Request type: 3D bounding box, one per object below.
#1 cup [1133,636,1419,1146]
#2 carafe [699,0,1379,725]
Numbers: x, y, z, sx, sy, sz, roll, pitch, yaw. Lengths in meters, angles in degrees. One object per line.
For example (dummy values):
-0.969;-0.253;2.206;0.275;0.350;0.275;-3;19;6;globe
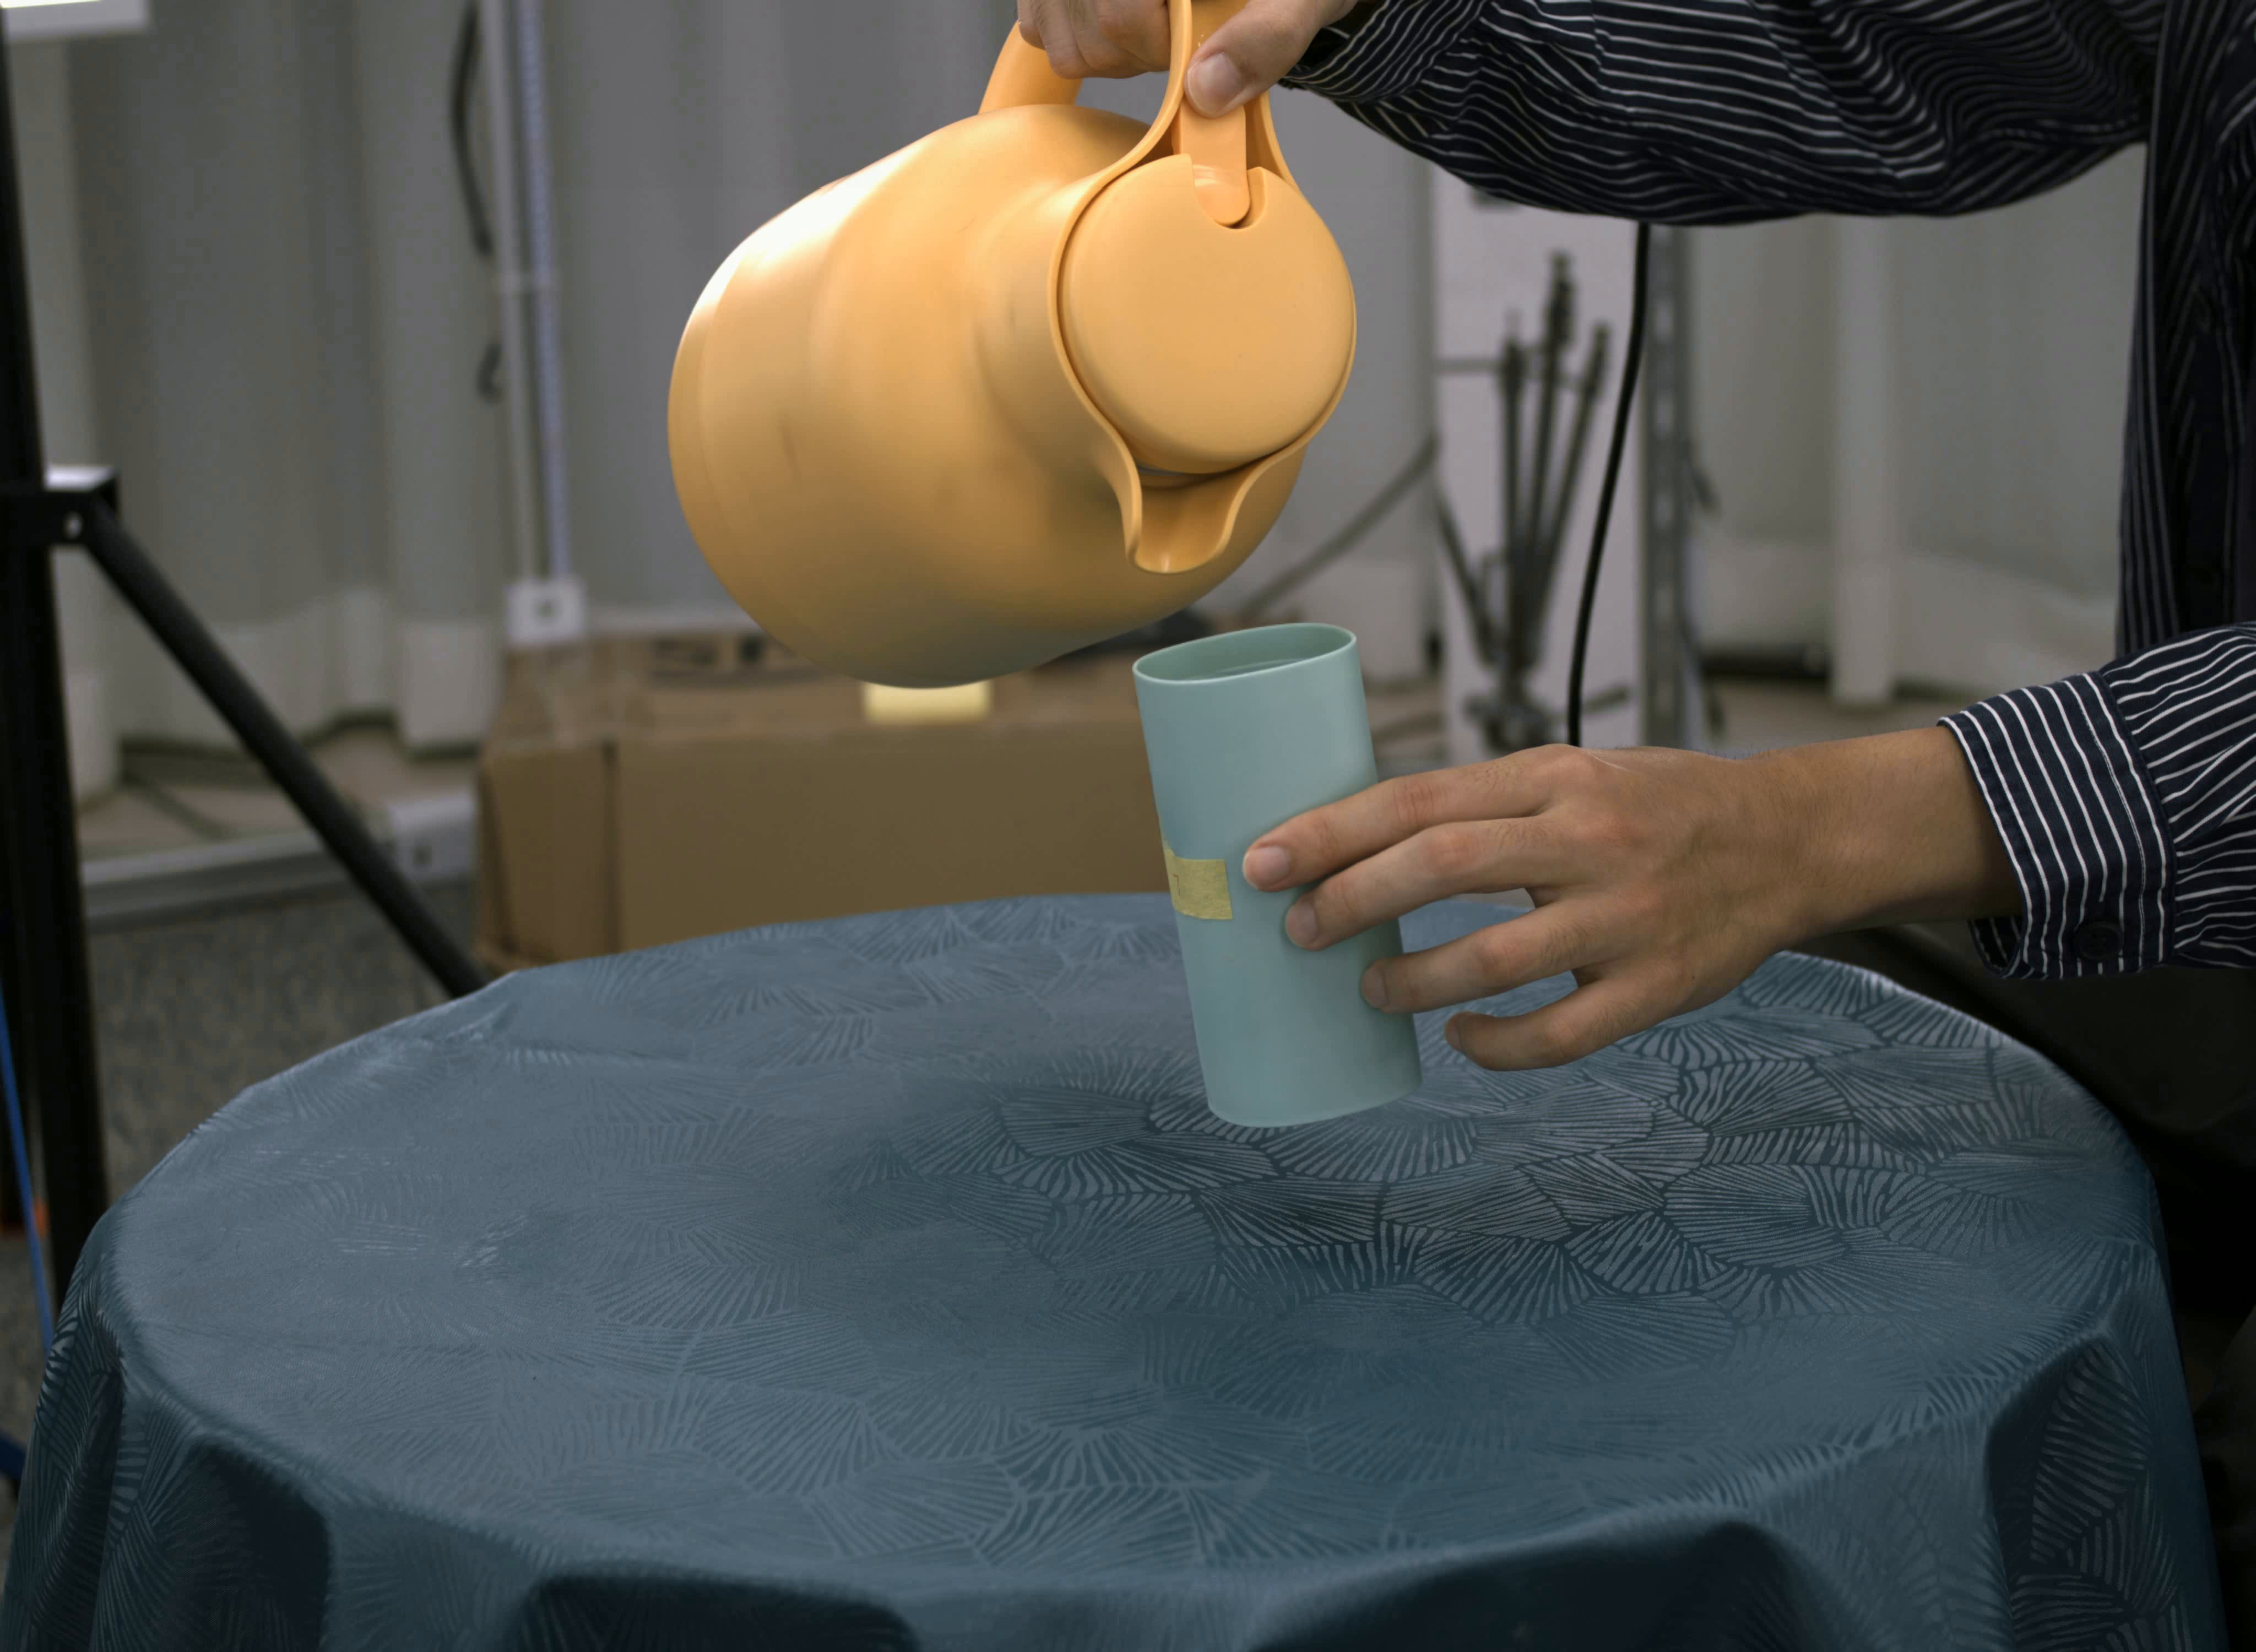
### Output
0.044;0.017;1.504;0.066;0.132;0.067;-9;11;1;cup
-0.016;-0.141;1.608;0.160;0.204;0.264;8;-9;-24;carafe
